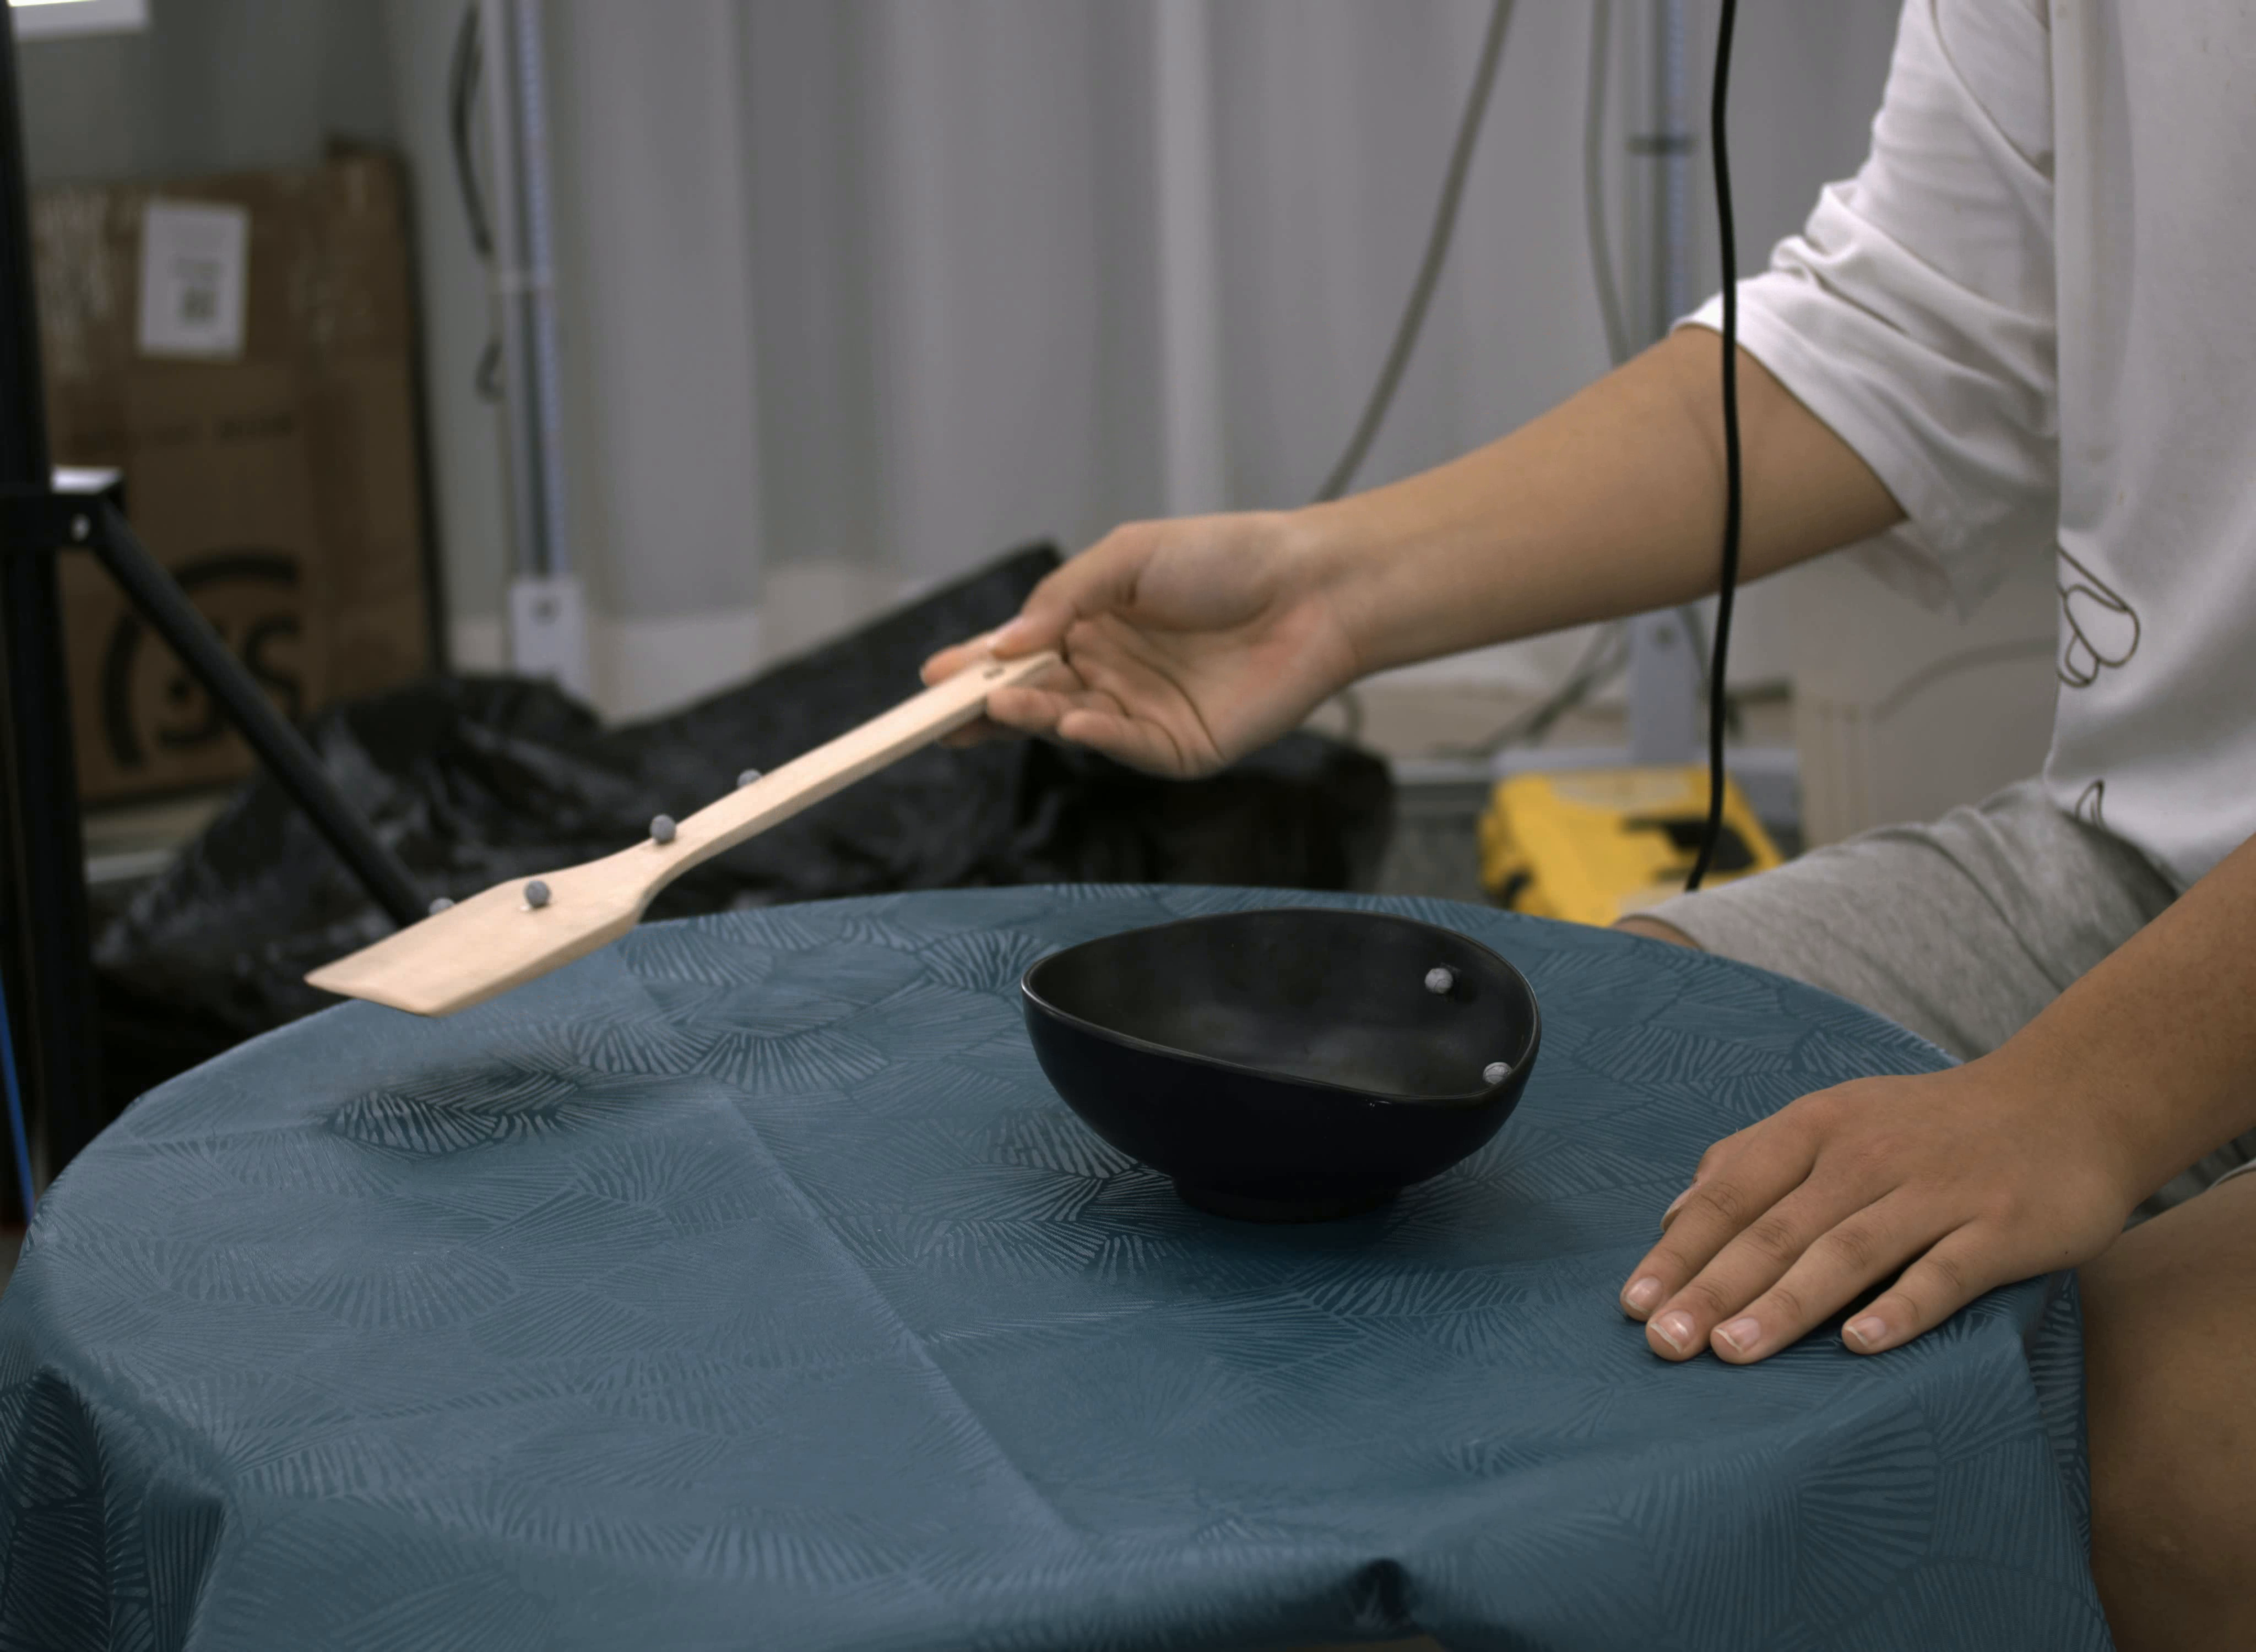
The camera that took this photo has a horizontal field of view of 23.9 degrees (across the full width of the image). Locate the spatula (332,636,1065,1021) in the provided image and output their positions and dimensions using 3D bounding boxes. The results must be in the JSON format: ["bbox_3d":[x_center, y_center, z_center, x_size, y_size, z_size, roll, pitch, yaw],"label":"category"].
[{"bbox_3d":[-0.128,-0.003,1.727,0.288,0.010,0.074,-31,26,-36],"label":"spatula"}]

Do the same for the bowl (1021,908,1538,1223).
[{"bbox_3d":[0.045,0.074,1.554,0.134,0.067,0.174,-16,22,-41],"label":"bowl"}]
